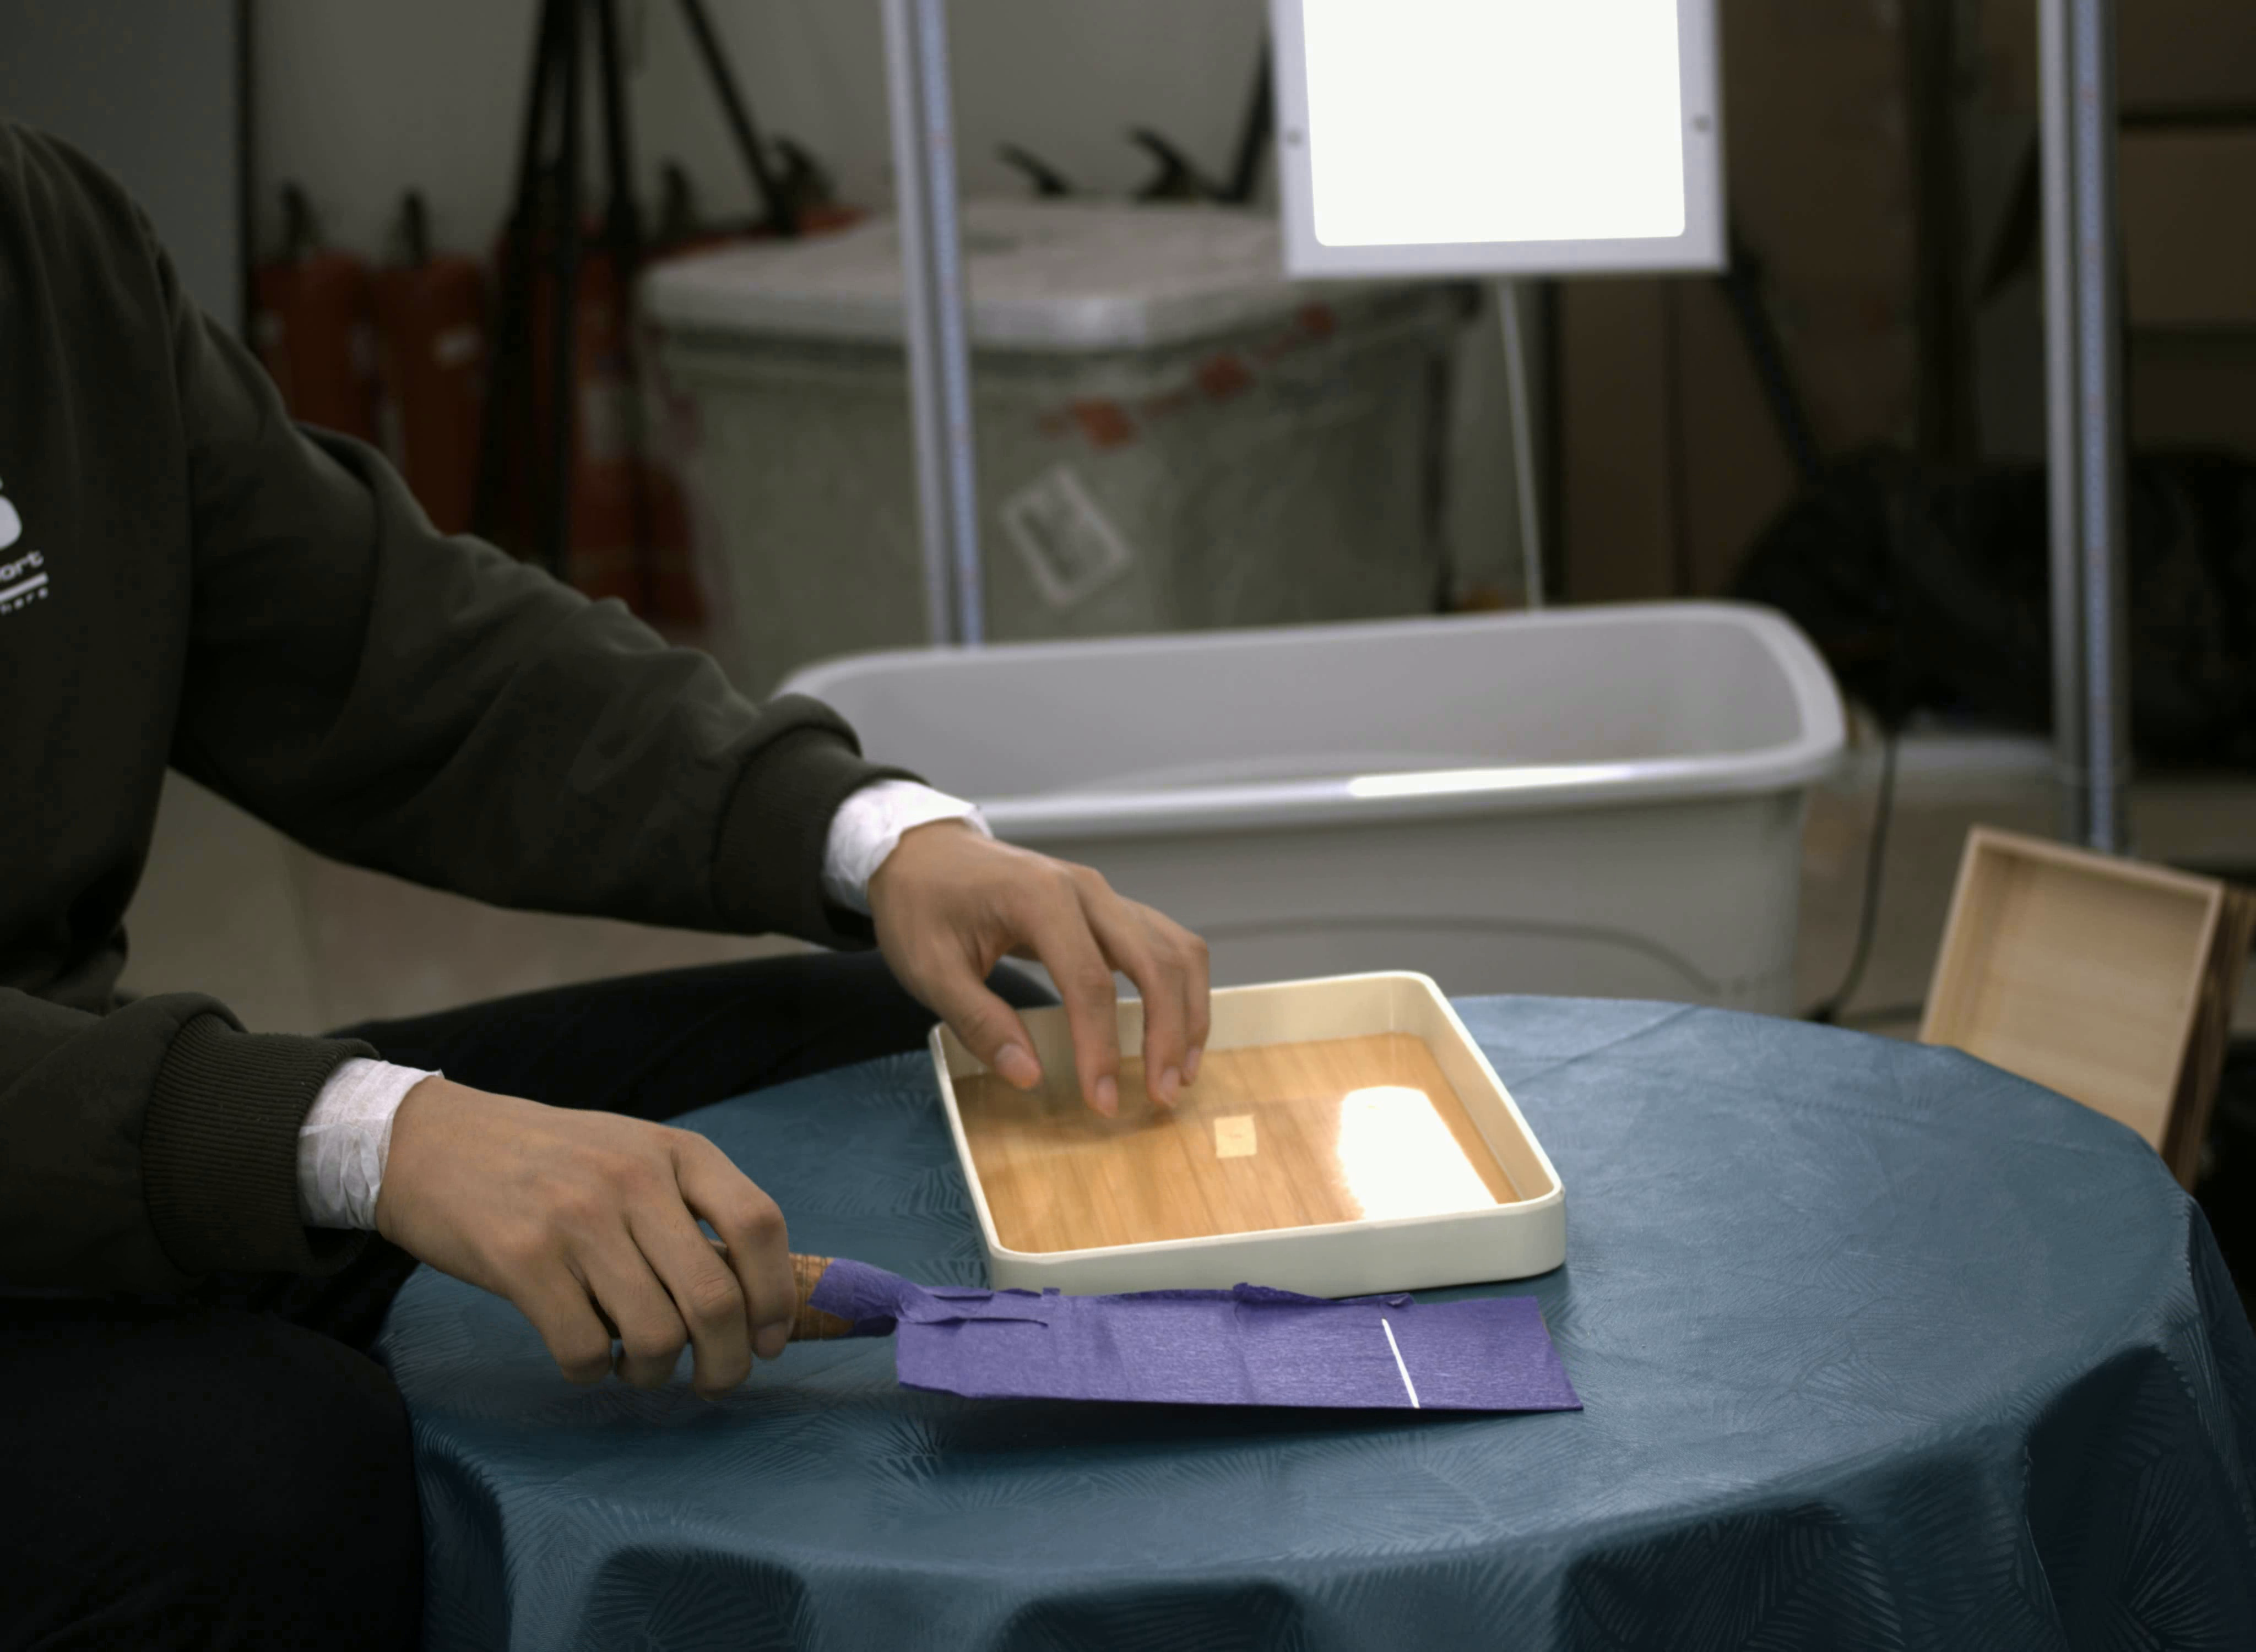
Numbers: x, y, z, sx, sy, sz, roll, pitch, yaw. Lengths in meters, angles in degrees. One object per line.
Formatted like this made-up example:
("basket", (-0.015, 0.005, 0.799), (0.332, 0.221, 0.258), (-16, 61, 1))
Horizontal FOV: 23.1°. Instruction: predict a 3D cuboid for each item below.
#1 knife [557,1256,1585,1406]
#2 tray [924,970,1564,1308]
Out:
("knife", (-0.019, 0.155, 1.692), (0.314, 0.032, 0.104), (-1, 14, -1))
("tray", (0.034, 0.107, 1.909), (0.190, 0.027, 0.301), (-5, 14, -4))
